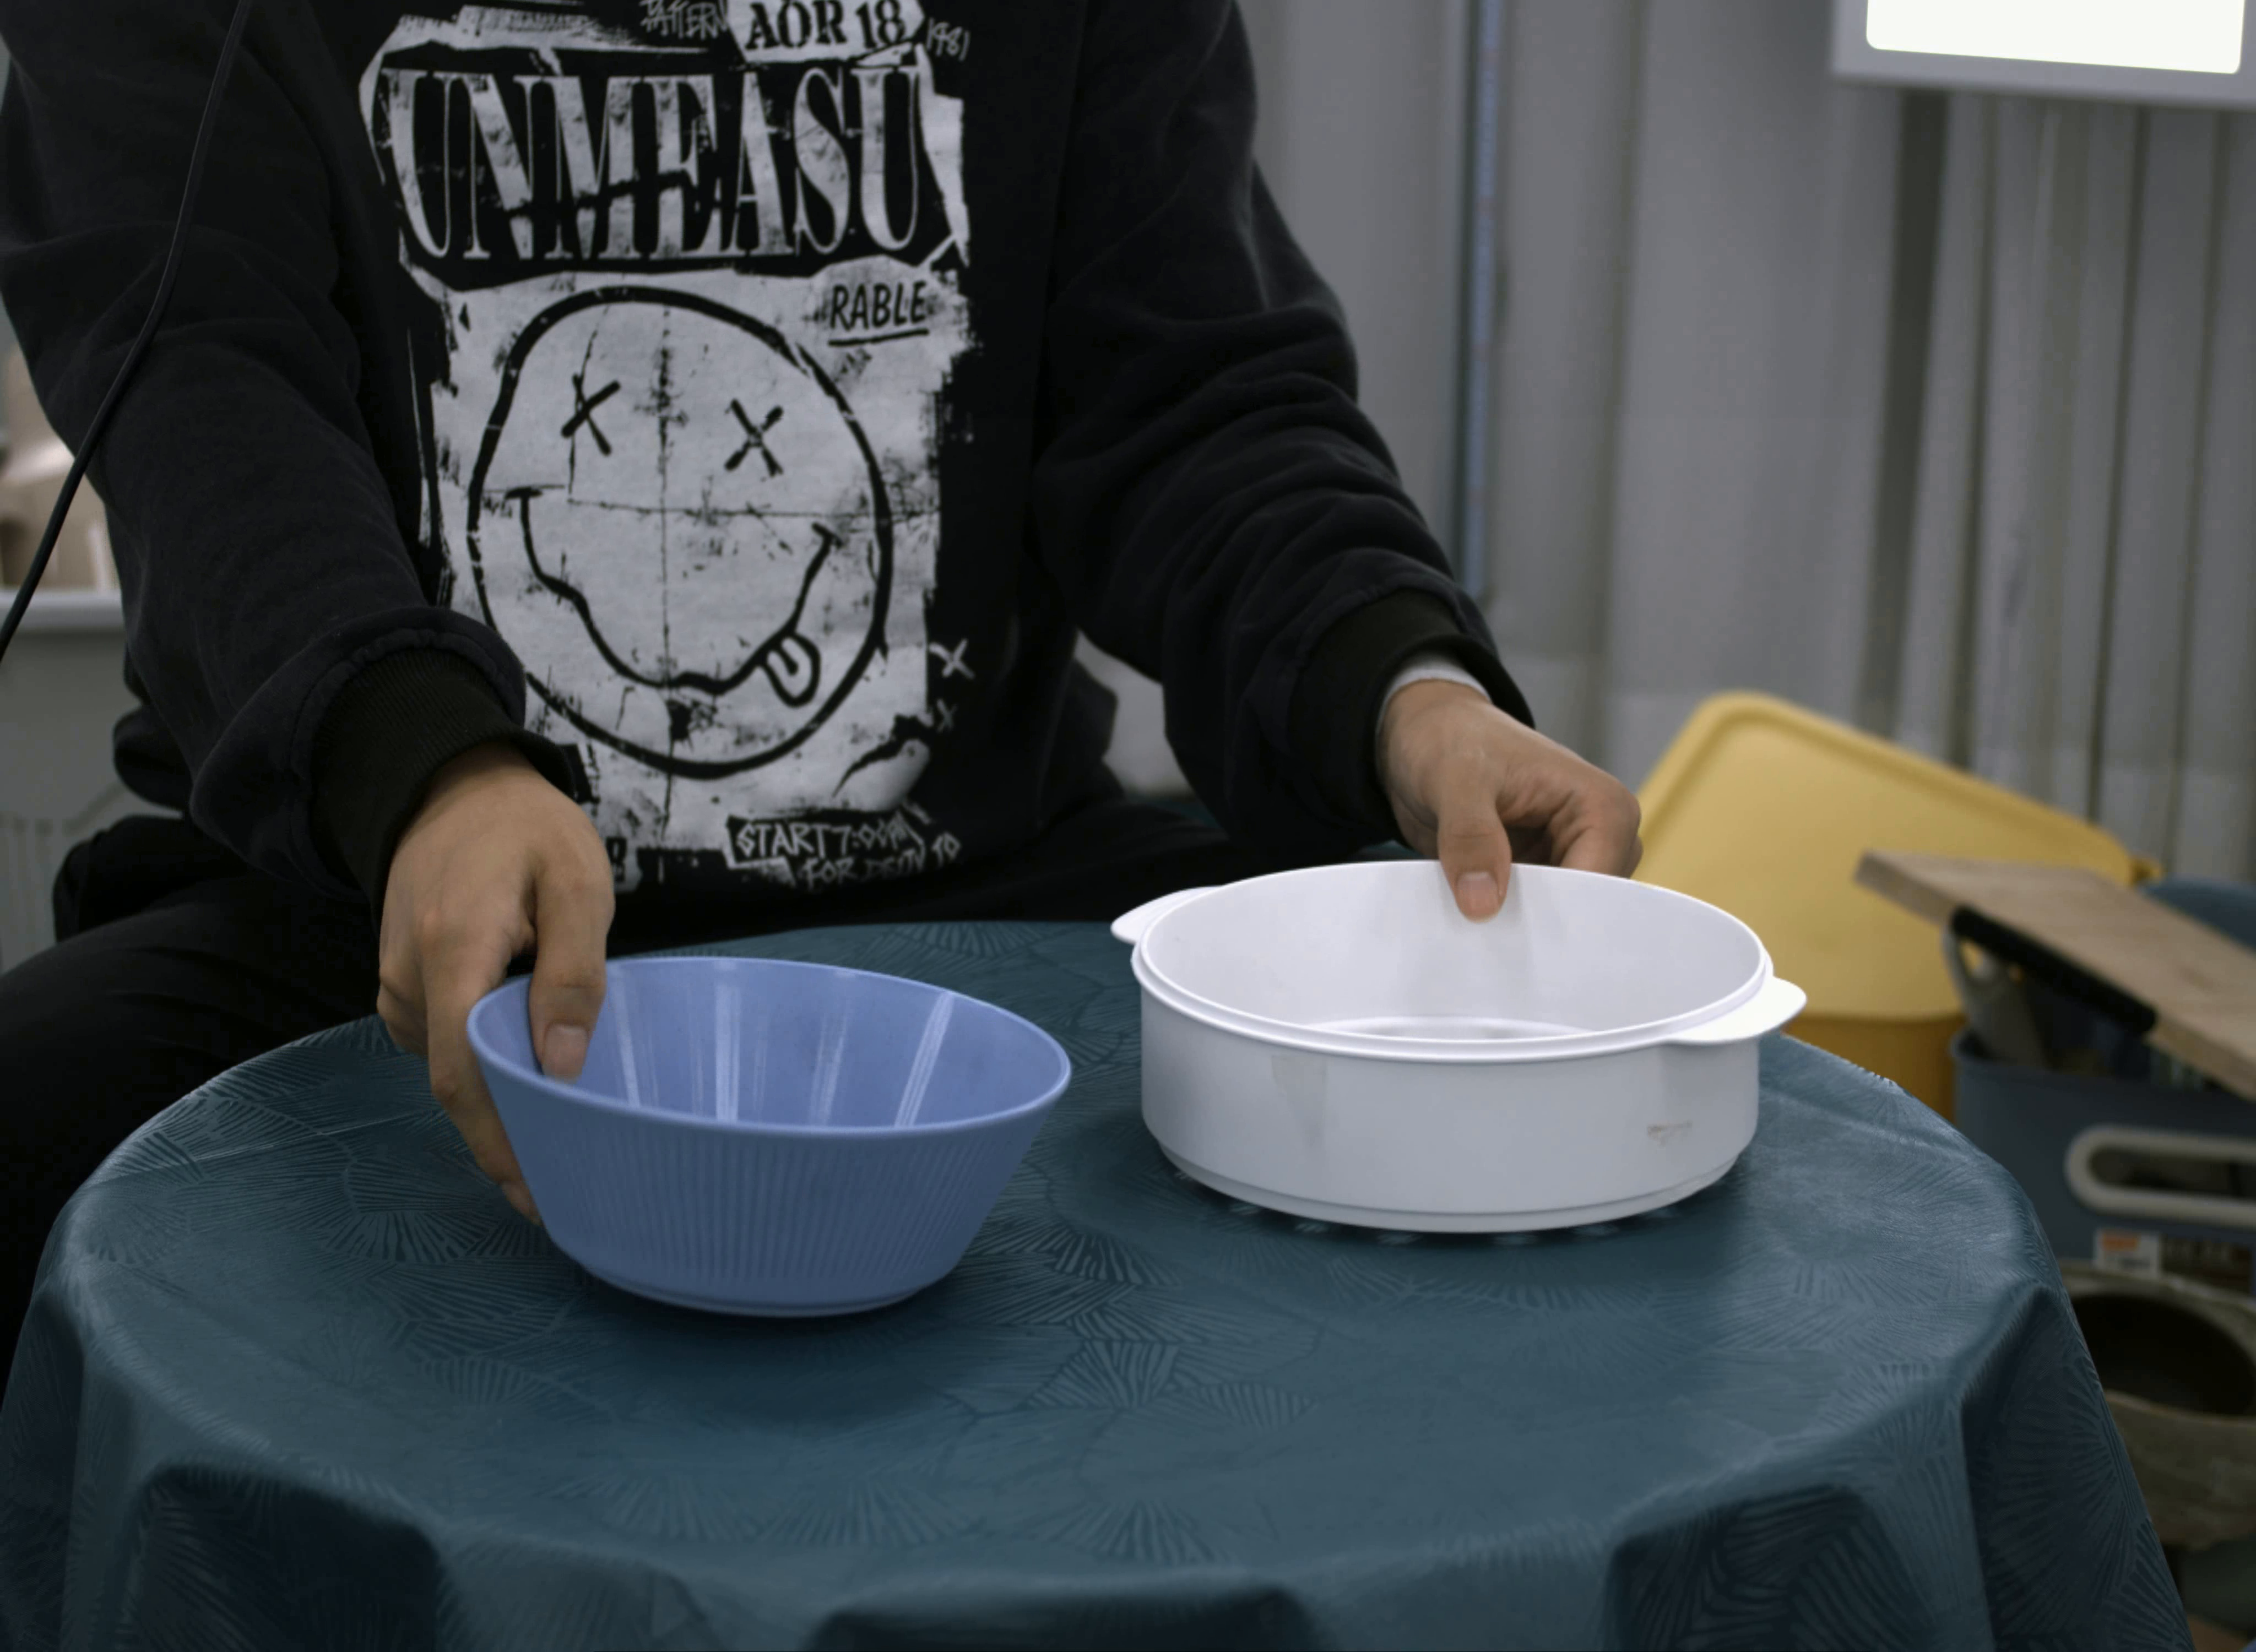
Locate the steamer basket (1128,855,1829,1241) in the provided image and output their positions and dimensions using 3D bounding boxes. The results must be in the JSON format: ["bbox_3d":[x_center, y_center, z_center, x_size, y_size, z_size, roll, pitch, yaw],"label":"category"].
[{"bbox_3d":[0.106,0.069,1.656,0.228,0.070,0.202,13,20,29],"label":"steamer basket"}]

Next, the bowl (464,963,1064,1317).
[{"bbox_3d":[-0.109,0.094,1.541,0.175,0.071,0.175,6,14,-1],"label":"bowl"}]
